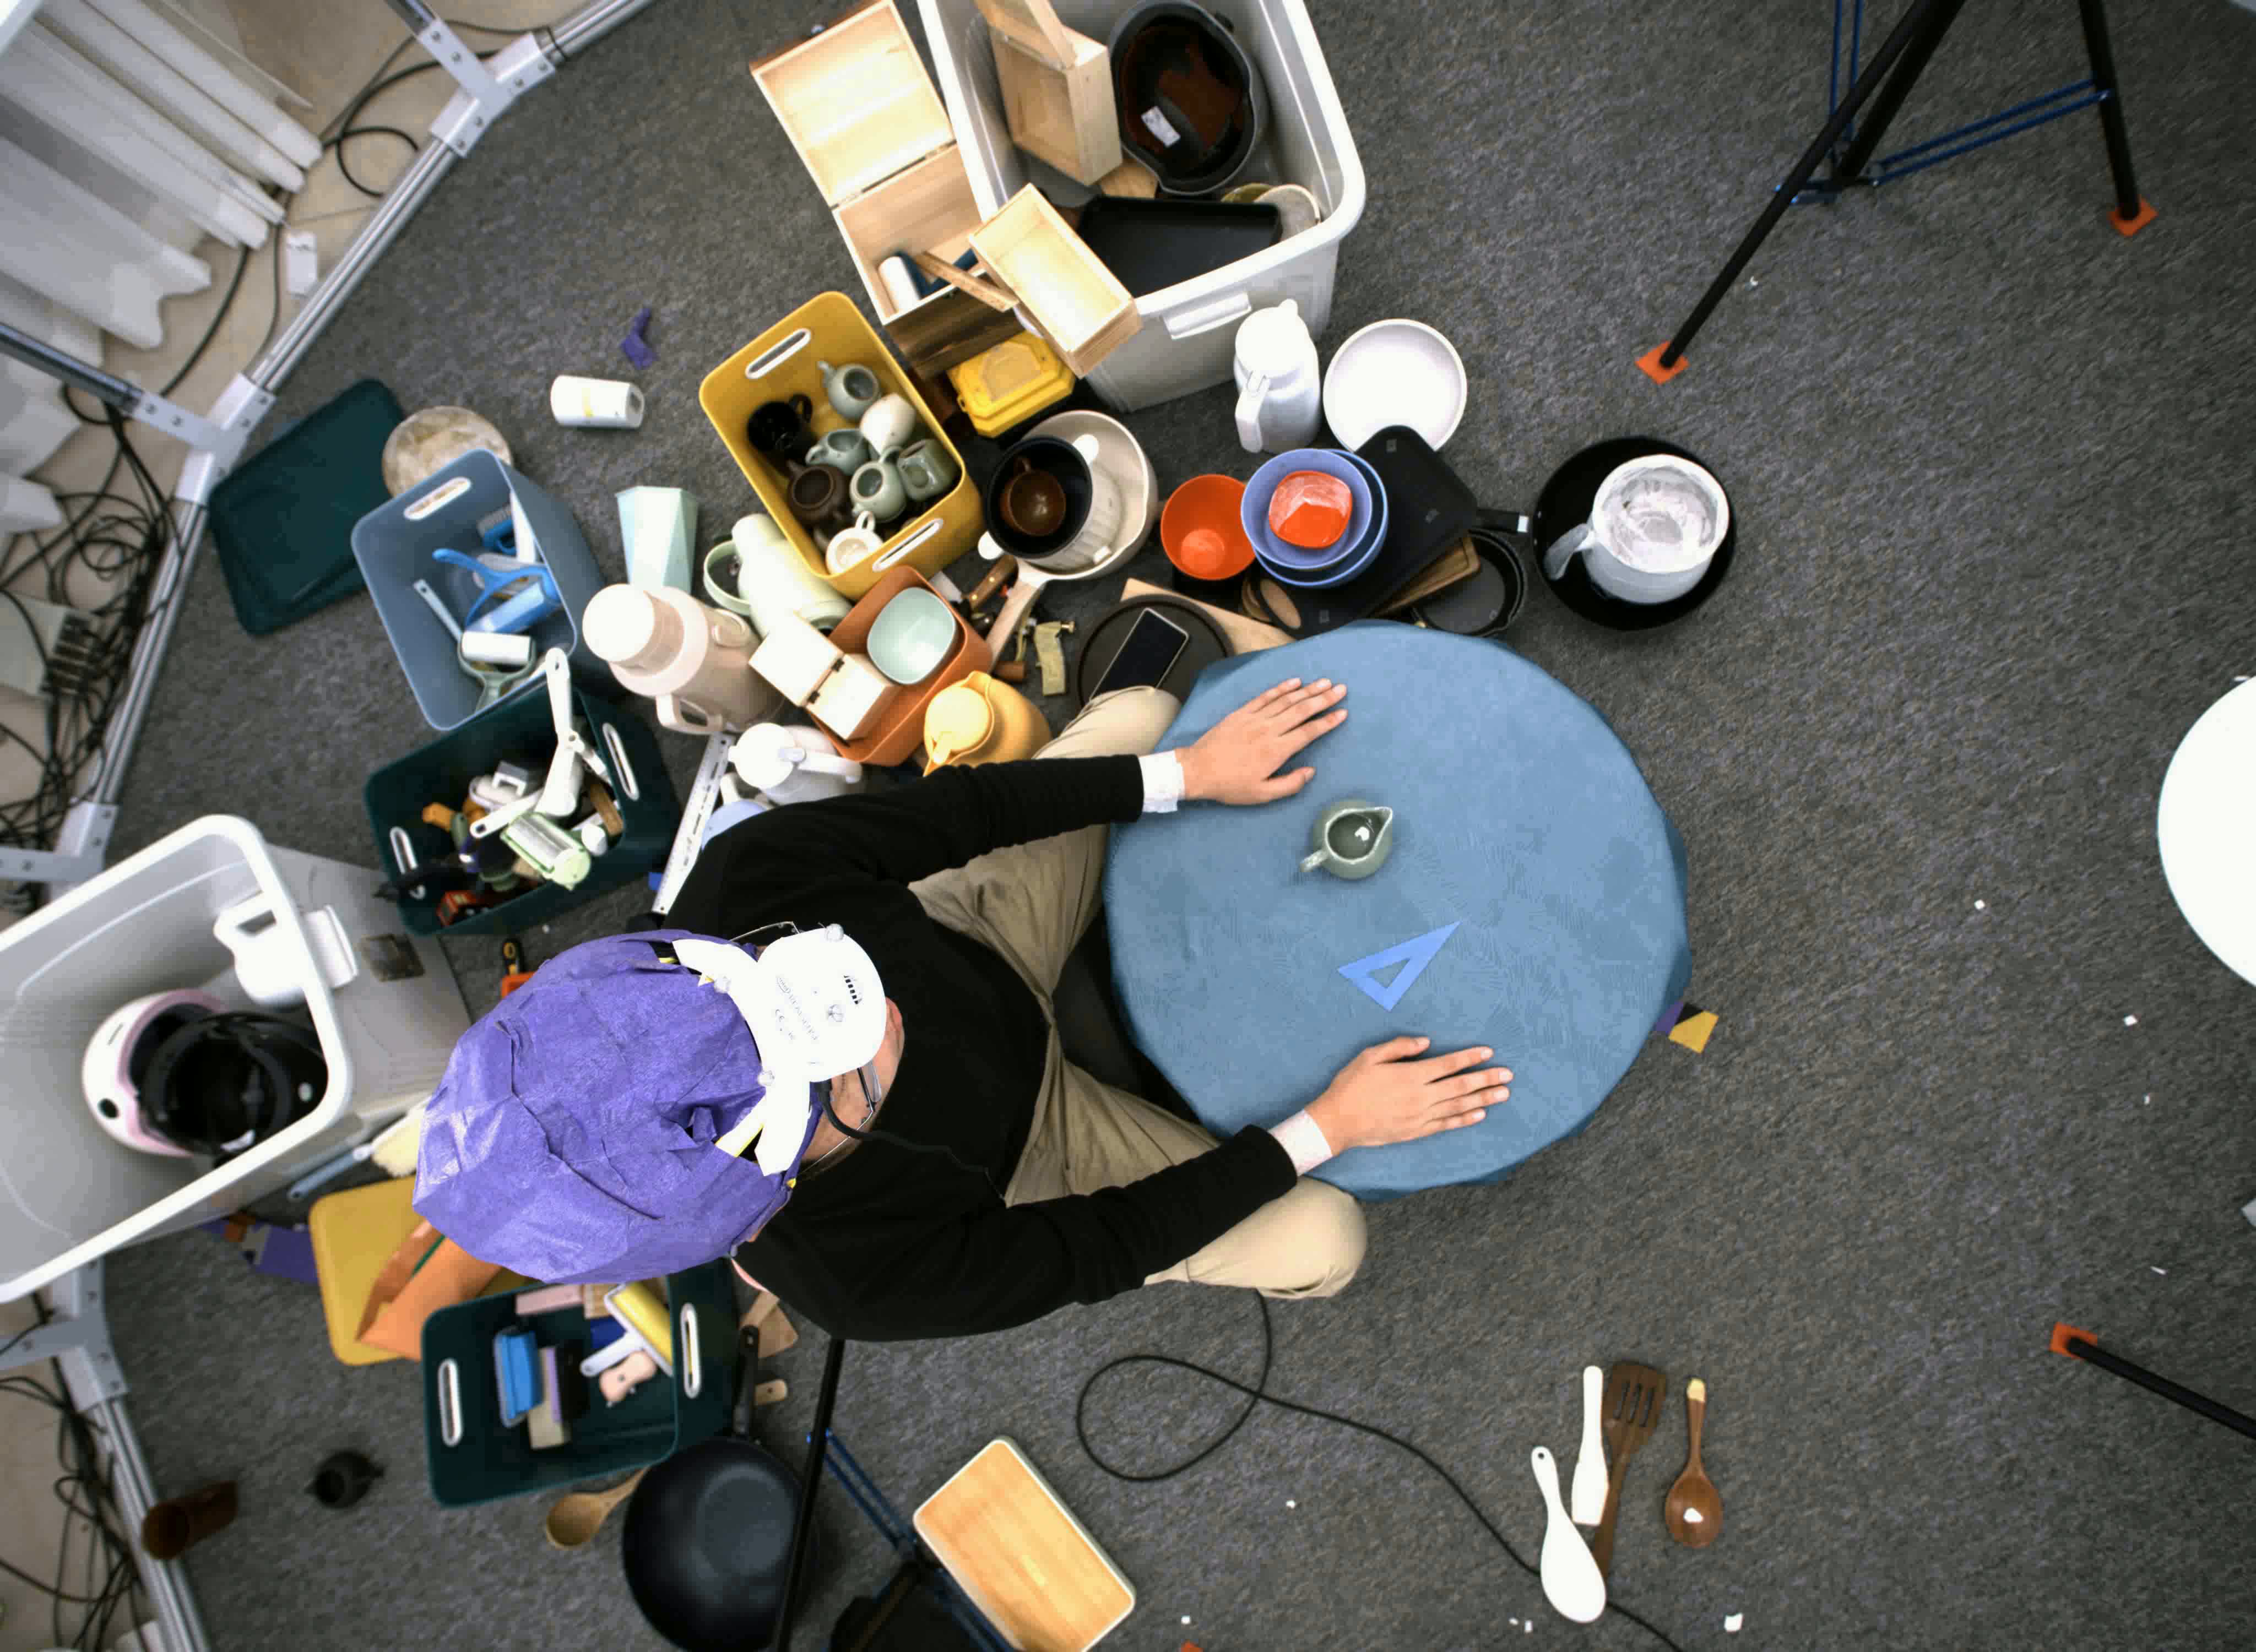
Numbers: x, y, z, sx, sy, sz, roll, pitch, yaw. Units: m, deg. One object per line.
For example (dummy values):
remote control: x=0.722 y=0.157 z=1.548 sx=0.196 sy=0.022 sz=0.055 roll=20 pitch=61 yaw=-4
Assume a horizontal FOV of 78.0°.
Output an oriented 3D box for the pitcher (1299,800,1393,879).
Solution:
pitcher: x=0.228 y=0.015 z=1.443 sx=0.113 sy=0.056 sz=0.083 roll=-34 pitch=78 yaw=6

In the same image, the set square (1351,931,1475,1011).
set square: x=0.306 y=0.153 z=1.447 sx=0.133 sy=0.006 sz=0.061 roll=-19 pitch=82 yaw=9
